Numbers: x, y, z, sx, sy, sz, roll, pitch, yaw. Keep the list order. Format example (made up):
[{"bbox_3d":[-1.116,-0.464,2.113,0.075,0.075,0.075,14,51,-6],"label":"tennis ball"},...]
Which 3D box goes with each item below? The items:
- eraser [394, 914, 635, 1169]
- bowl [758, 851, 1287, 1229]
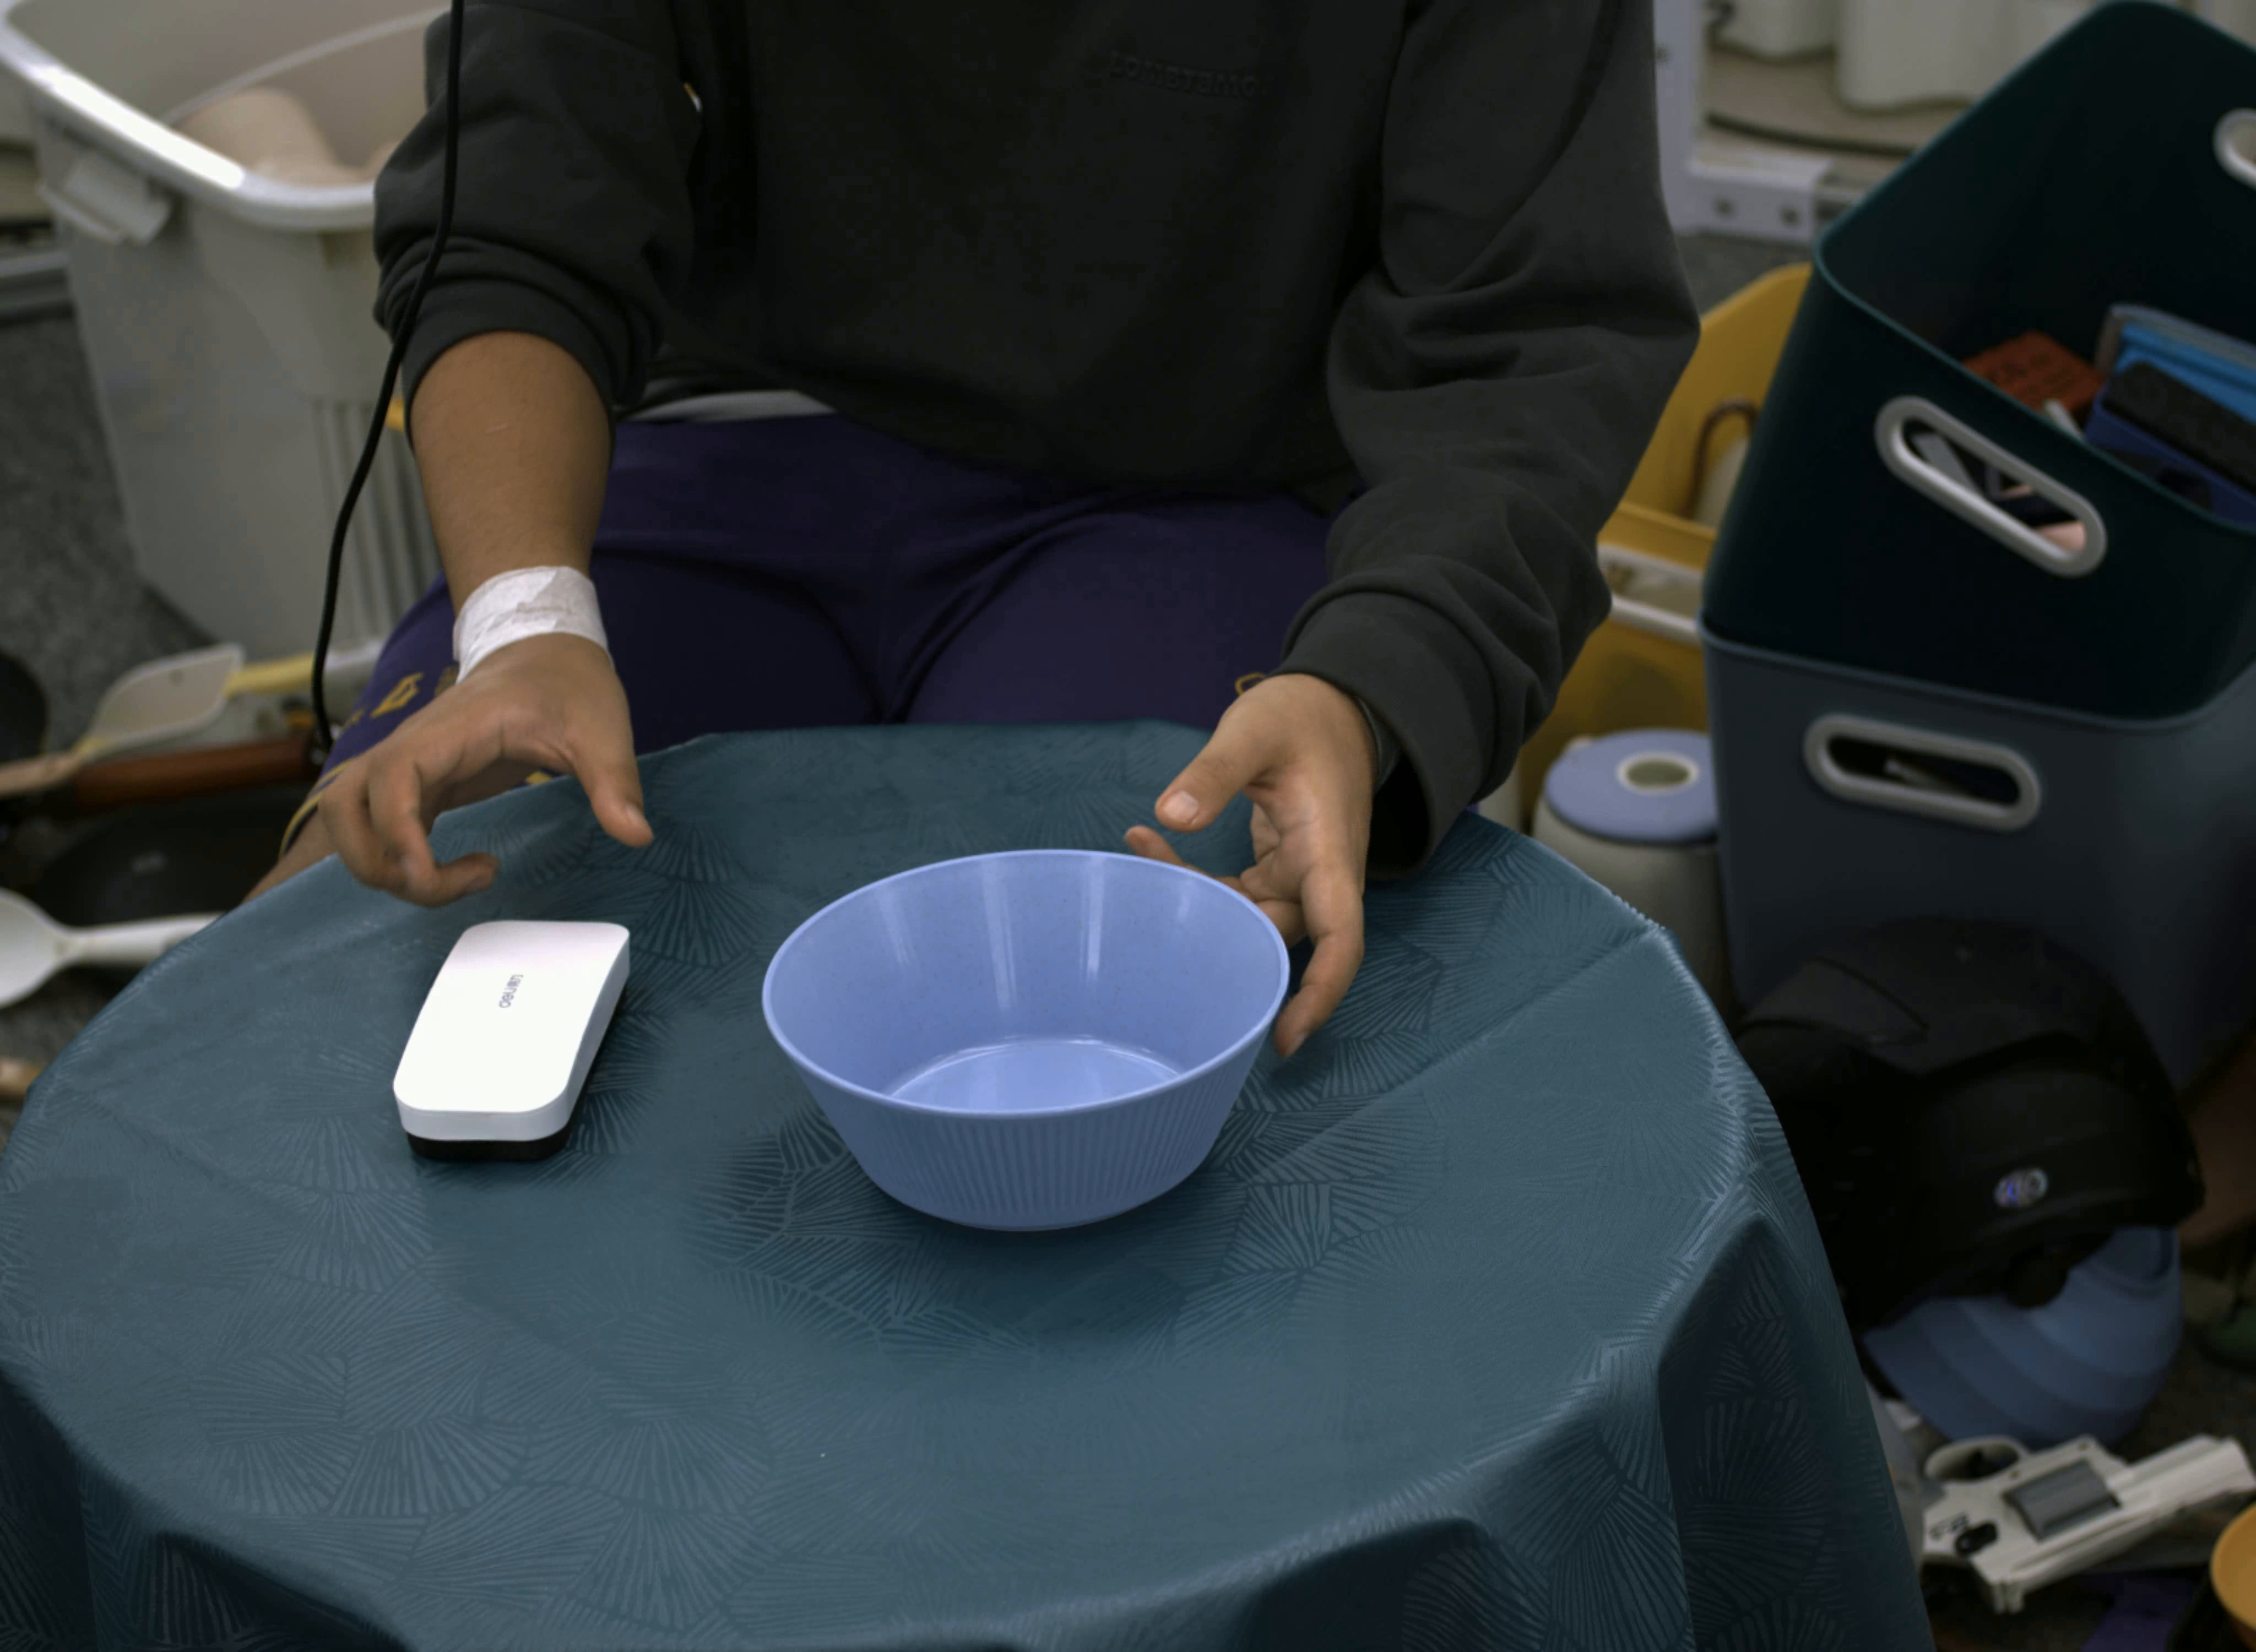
[{"bbox_3d":[-0.210,0.071,1.946,0.063,0.034,0.133,3,30,8],"label":"eraser"},{"bbox_3d":[-0.034,0.077,1.874,0.175,0.069,0.179,-1,28,1],"label":"bowl"}]
